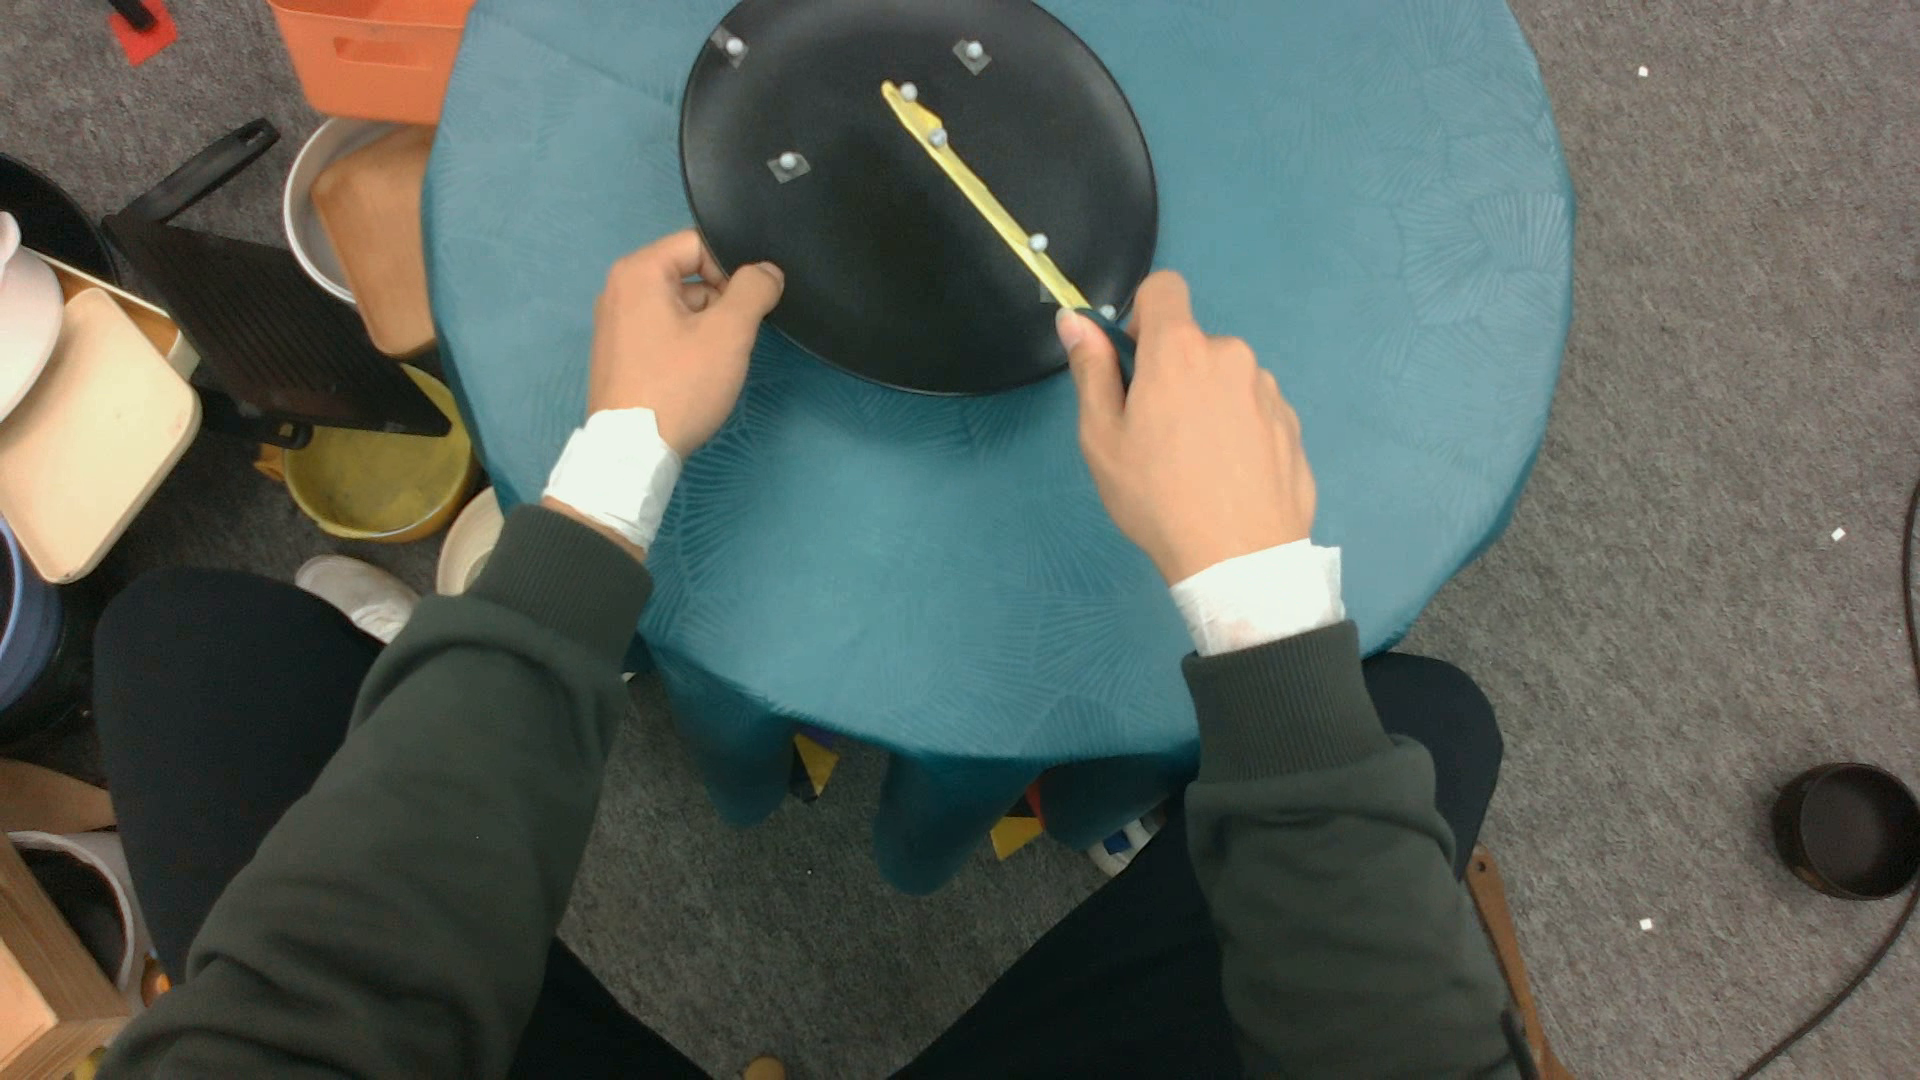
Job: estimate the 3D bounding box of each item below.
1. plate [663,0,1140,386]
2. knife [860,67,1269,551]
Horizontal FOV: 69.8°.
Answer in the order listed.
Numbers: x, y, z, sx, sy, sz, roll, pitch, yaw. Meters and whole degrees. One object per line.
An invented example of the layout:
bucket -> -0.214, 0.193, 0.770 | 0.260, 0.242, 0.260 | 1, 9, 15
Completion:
plate -> -0.026, -0.187, 0.688 | 0.244, 0.023, 0.245 | 5, 71, -16
knife -> 0.042, -0.111, 0.620 | 0.027, 0.081, 0.290 | -42, 78, 17
